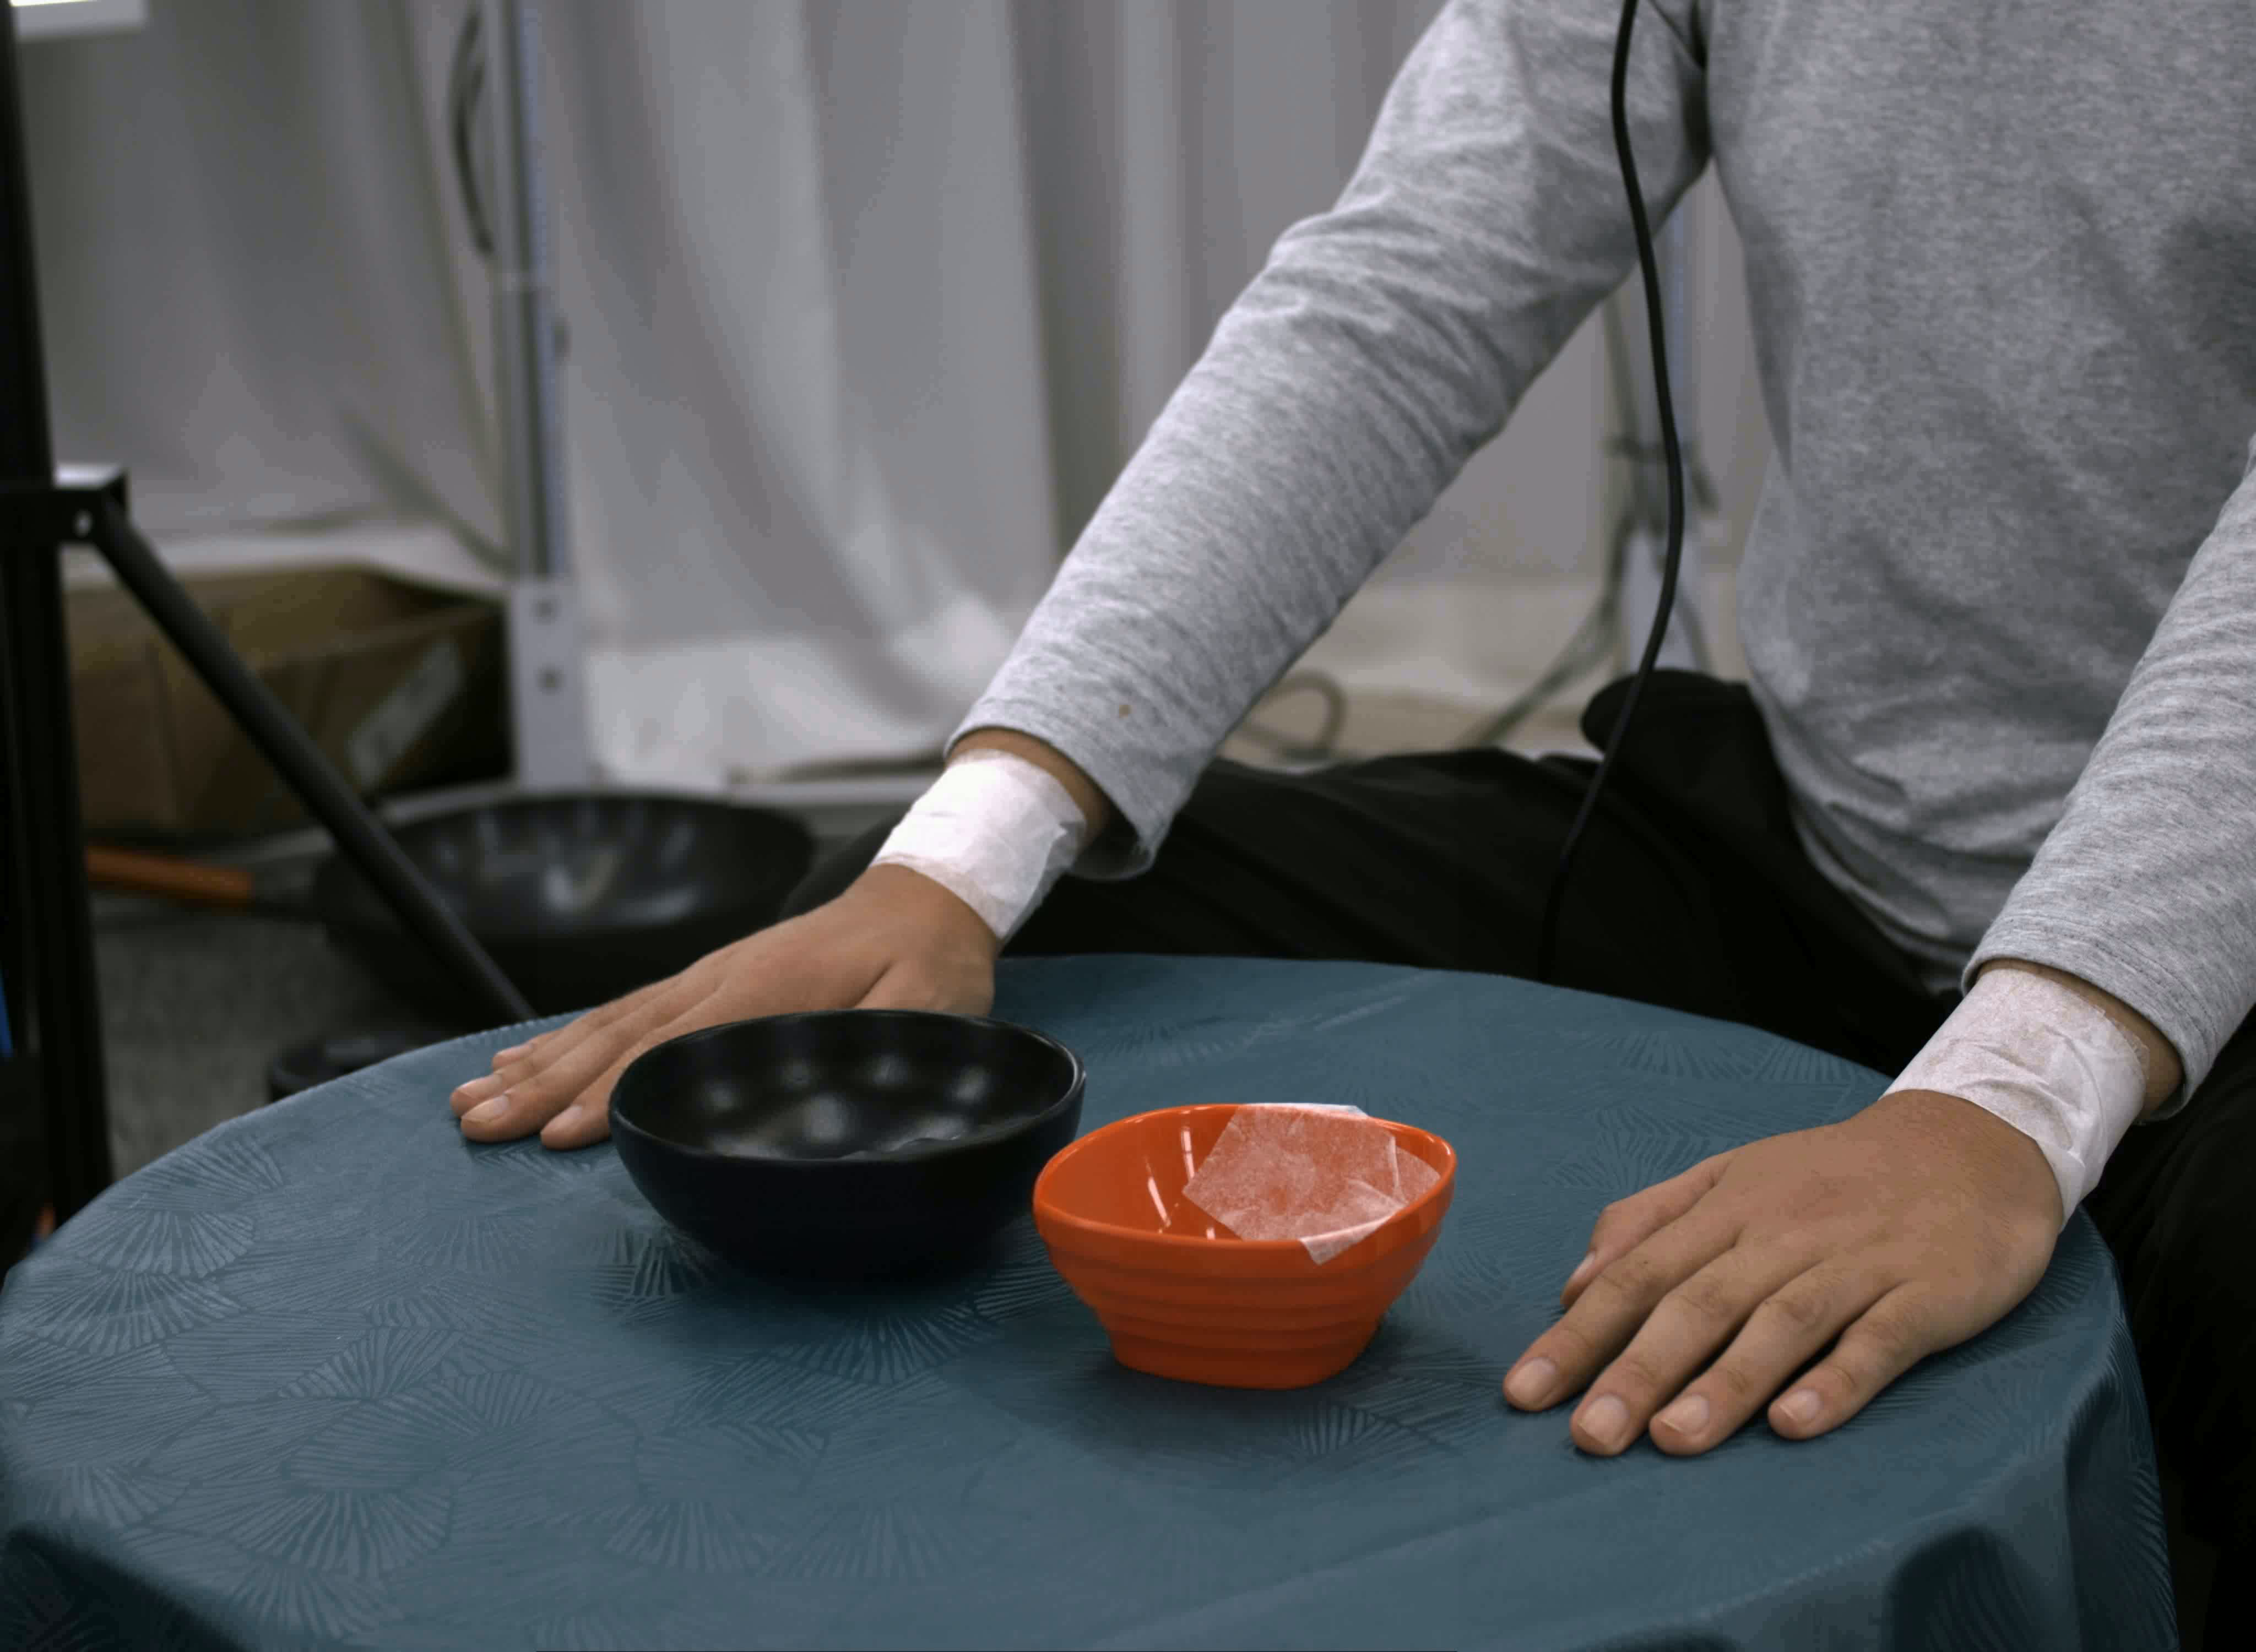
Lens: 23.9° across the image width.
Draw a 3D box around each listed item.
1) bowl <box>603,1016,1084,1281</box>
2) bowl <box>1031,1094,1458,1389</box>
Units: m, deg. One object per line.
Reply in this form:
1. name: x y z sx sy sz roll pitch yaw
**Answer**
1. bowl: -0.081 0.097 1.529 0.139 0.050 0.140 0 14 -1
2. bowl: 0.033 0.115 1.434 0.118 0.051 0.119 -4 17 0
